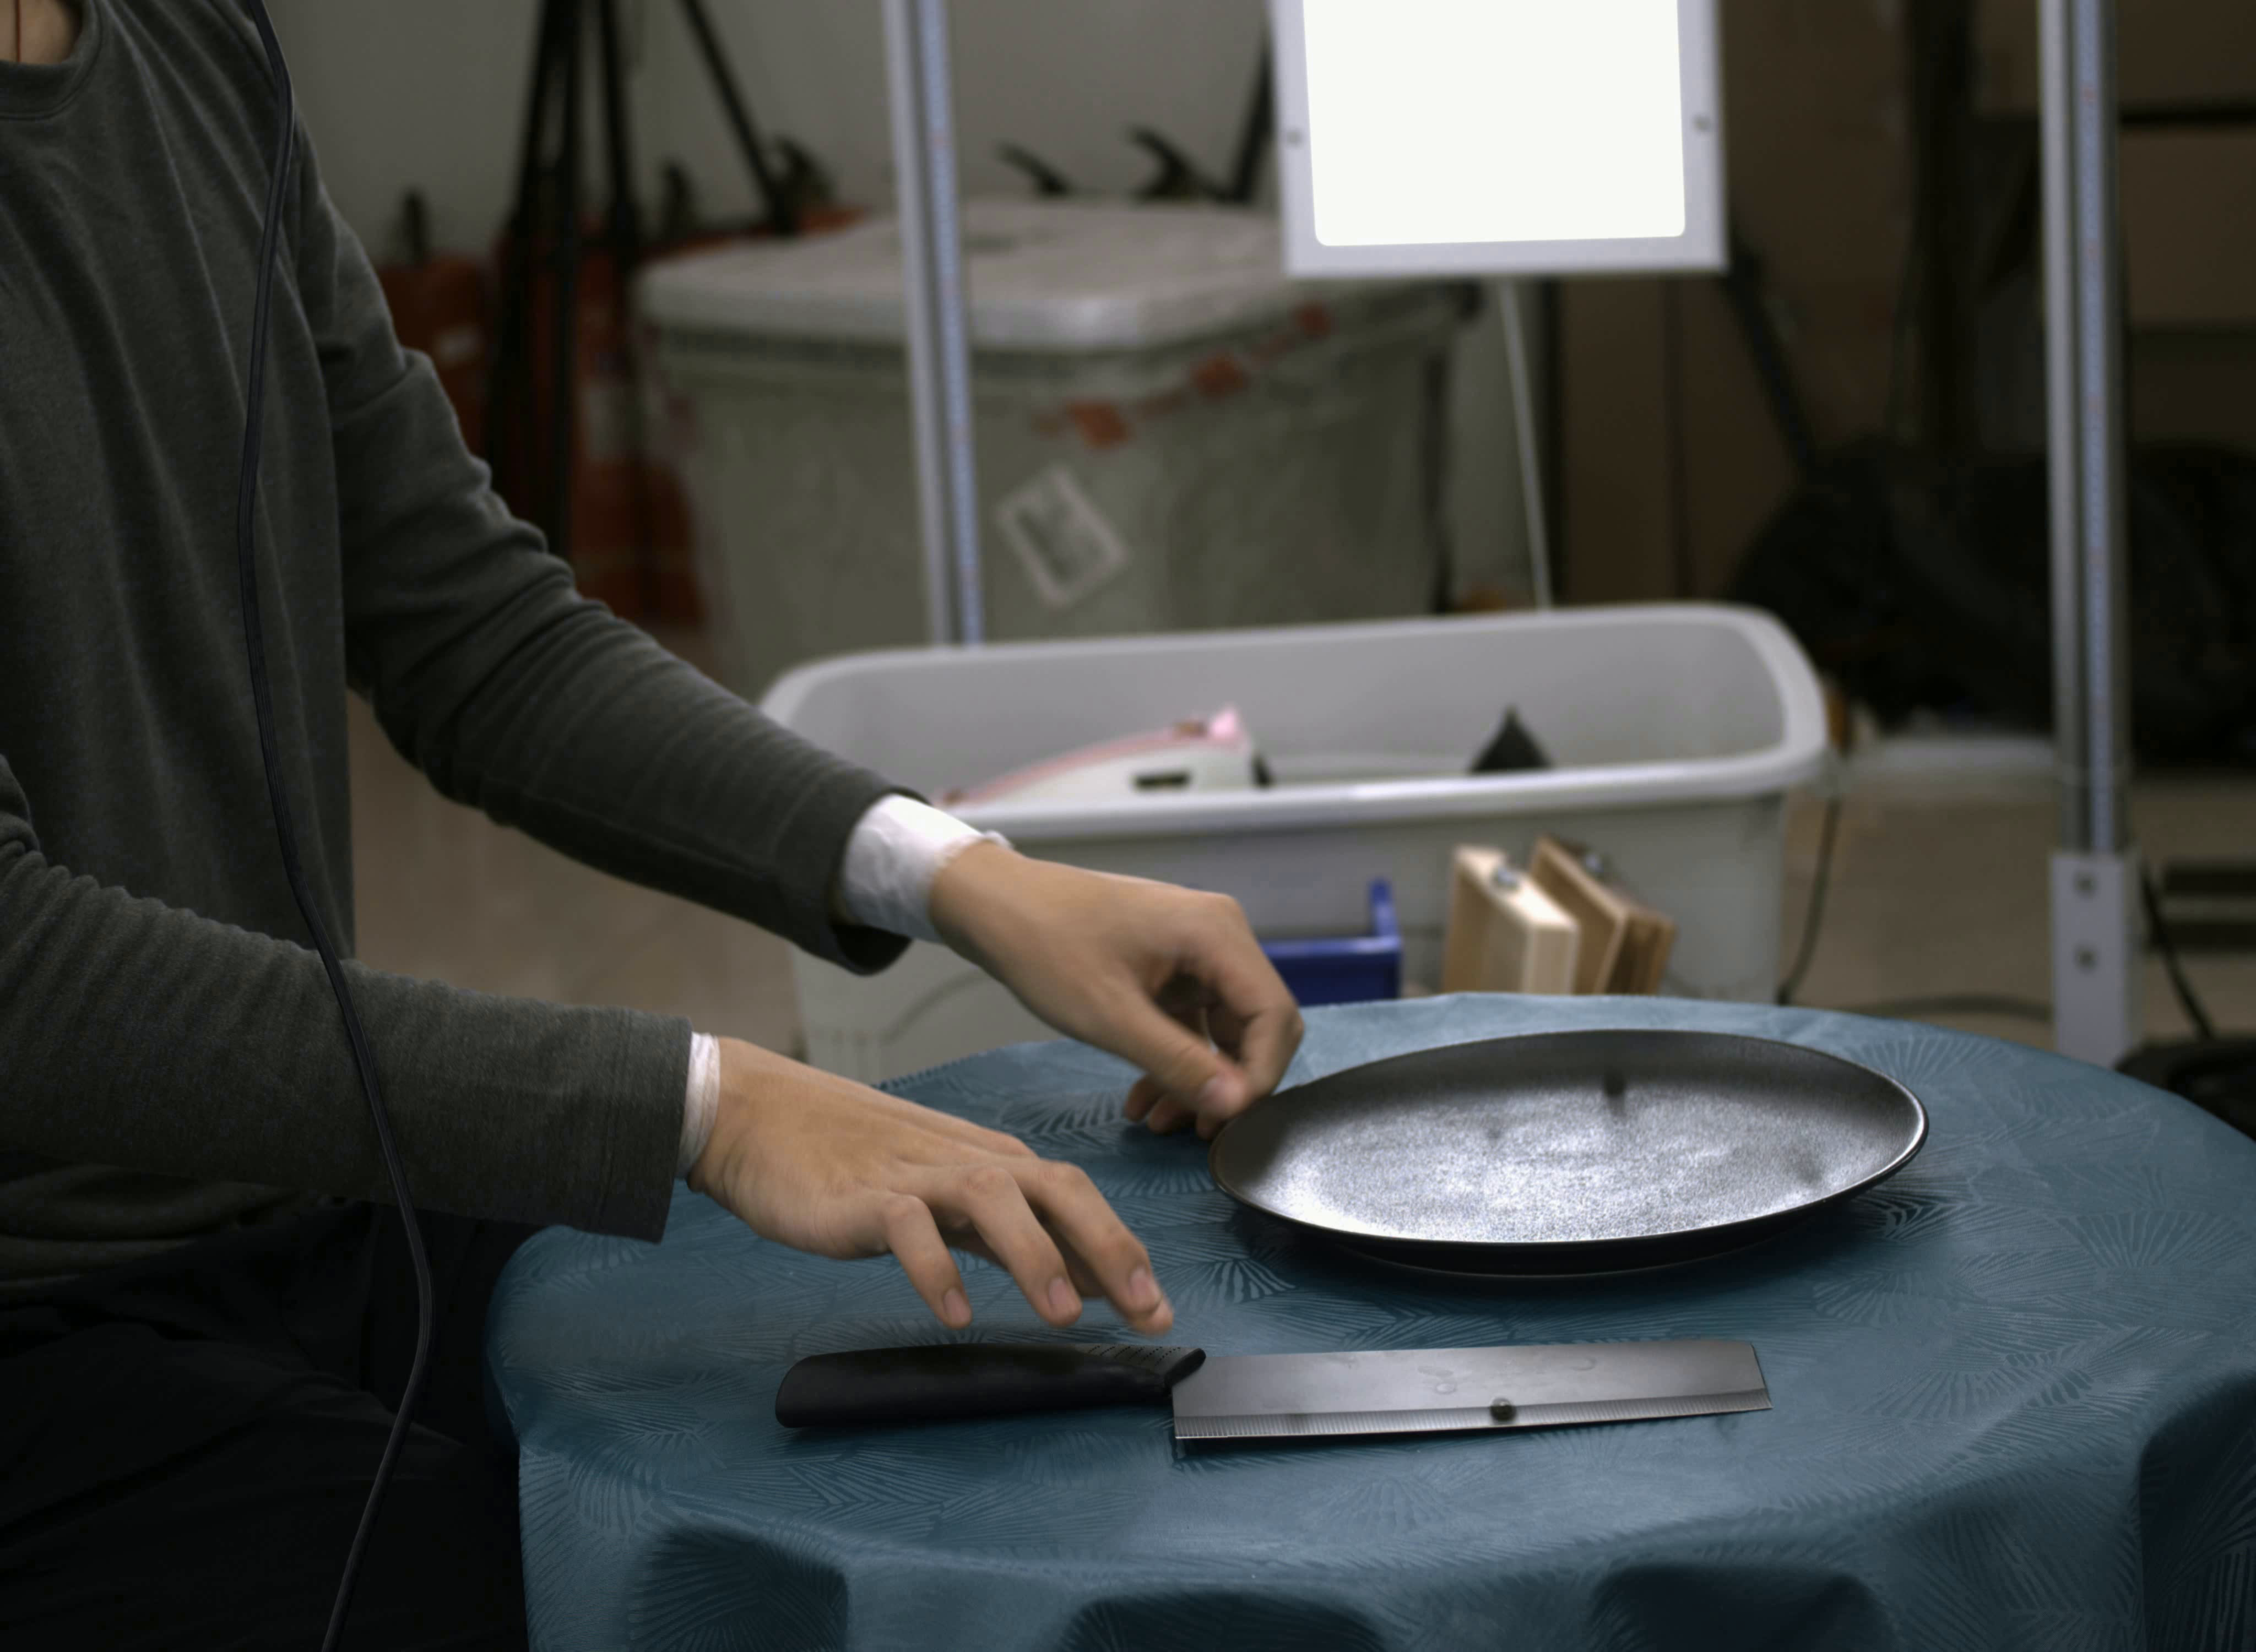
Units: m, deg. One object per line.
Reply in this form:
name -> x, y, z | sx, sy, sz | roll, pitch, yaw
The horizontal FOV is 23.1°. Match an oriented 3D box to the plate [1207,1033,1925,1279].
plate -> 0.149, 0.113, 1.855 | 0.244, 0.023, 0.244 | -5, 14, 0

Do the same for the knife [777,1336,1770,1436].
knife -> 0.044, 0.171, 1.675 | 0.303, 0.021, 0.080 | -2, 14, 7
